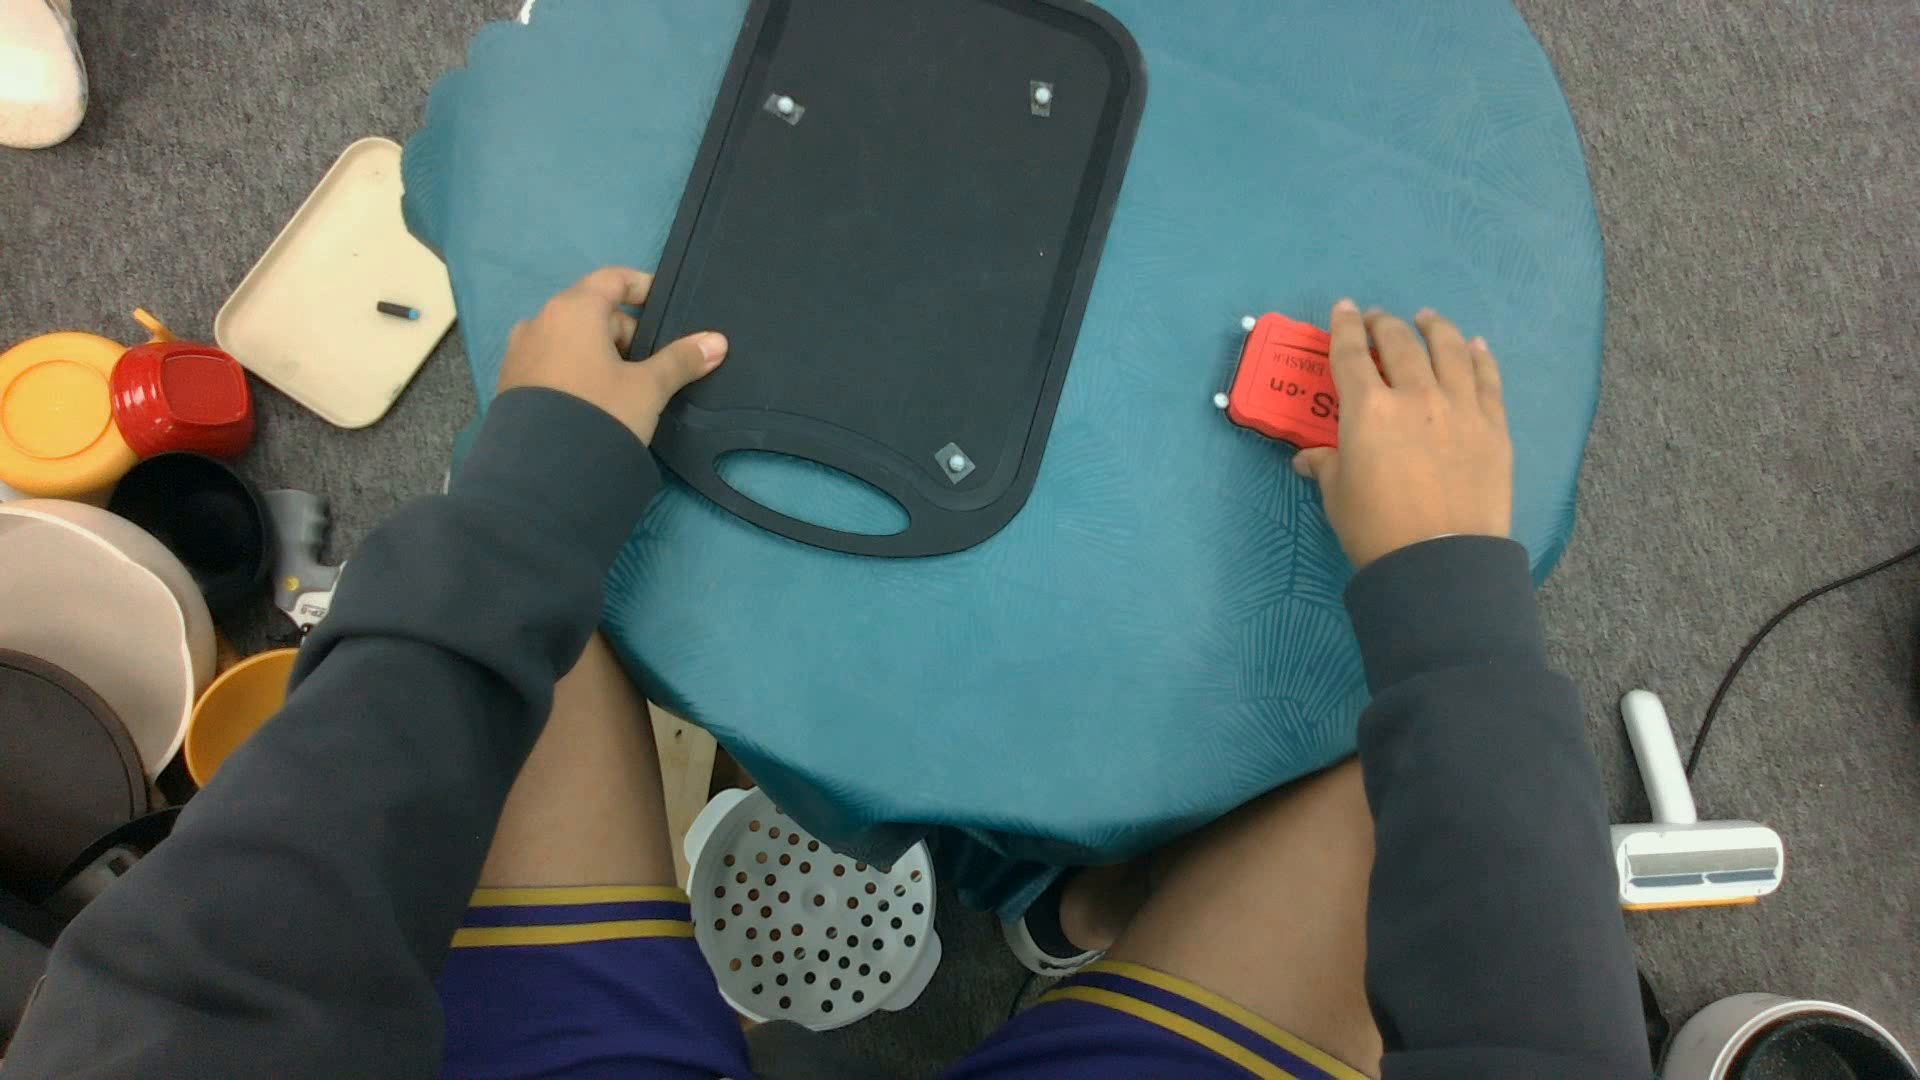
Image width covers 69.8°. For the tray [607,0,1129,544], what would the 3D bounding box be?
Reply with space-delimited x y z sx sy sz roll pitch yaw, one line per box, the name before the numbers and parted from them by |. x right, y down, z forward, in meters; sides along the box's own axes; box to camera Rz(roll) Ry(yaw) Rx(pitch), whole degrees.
tray | -0.042 -0.159 0.696 0.211 0.010 0.326 18 79 -8

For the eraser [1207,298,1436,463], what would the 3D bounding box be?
eraser | 0.185 -0.081 0.706 0.108 0.023 0.059 18 79 -2
